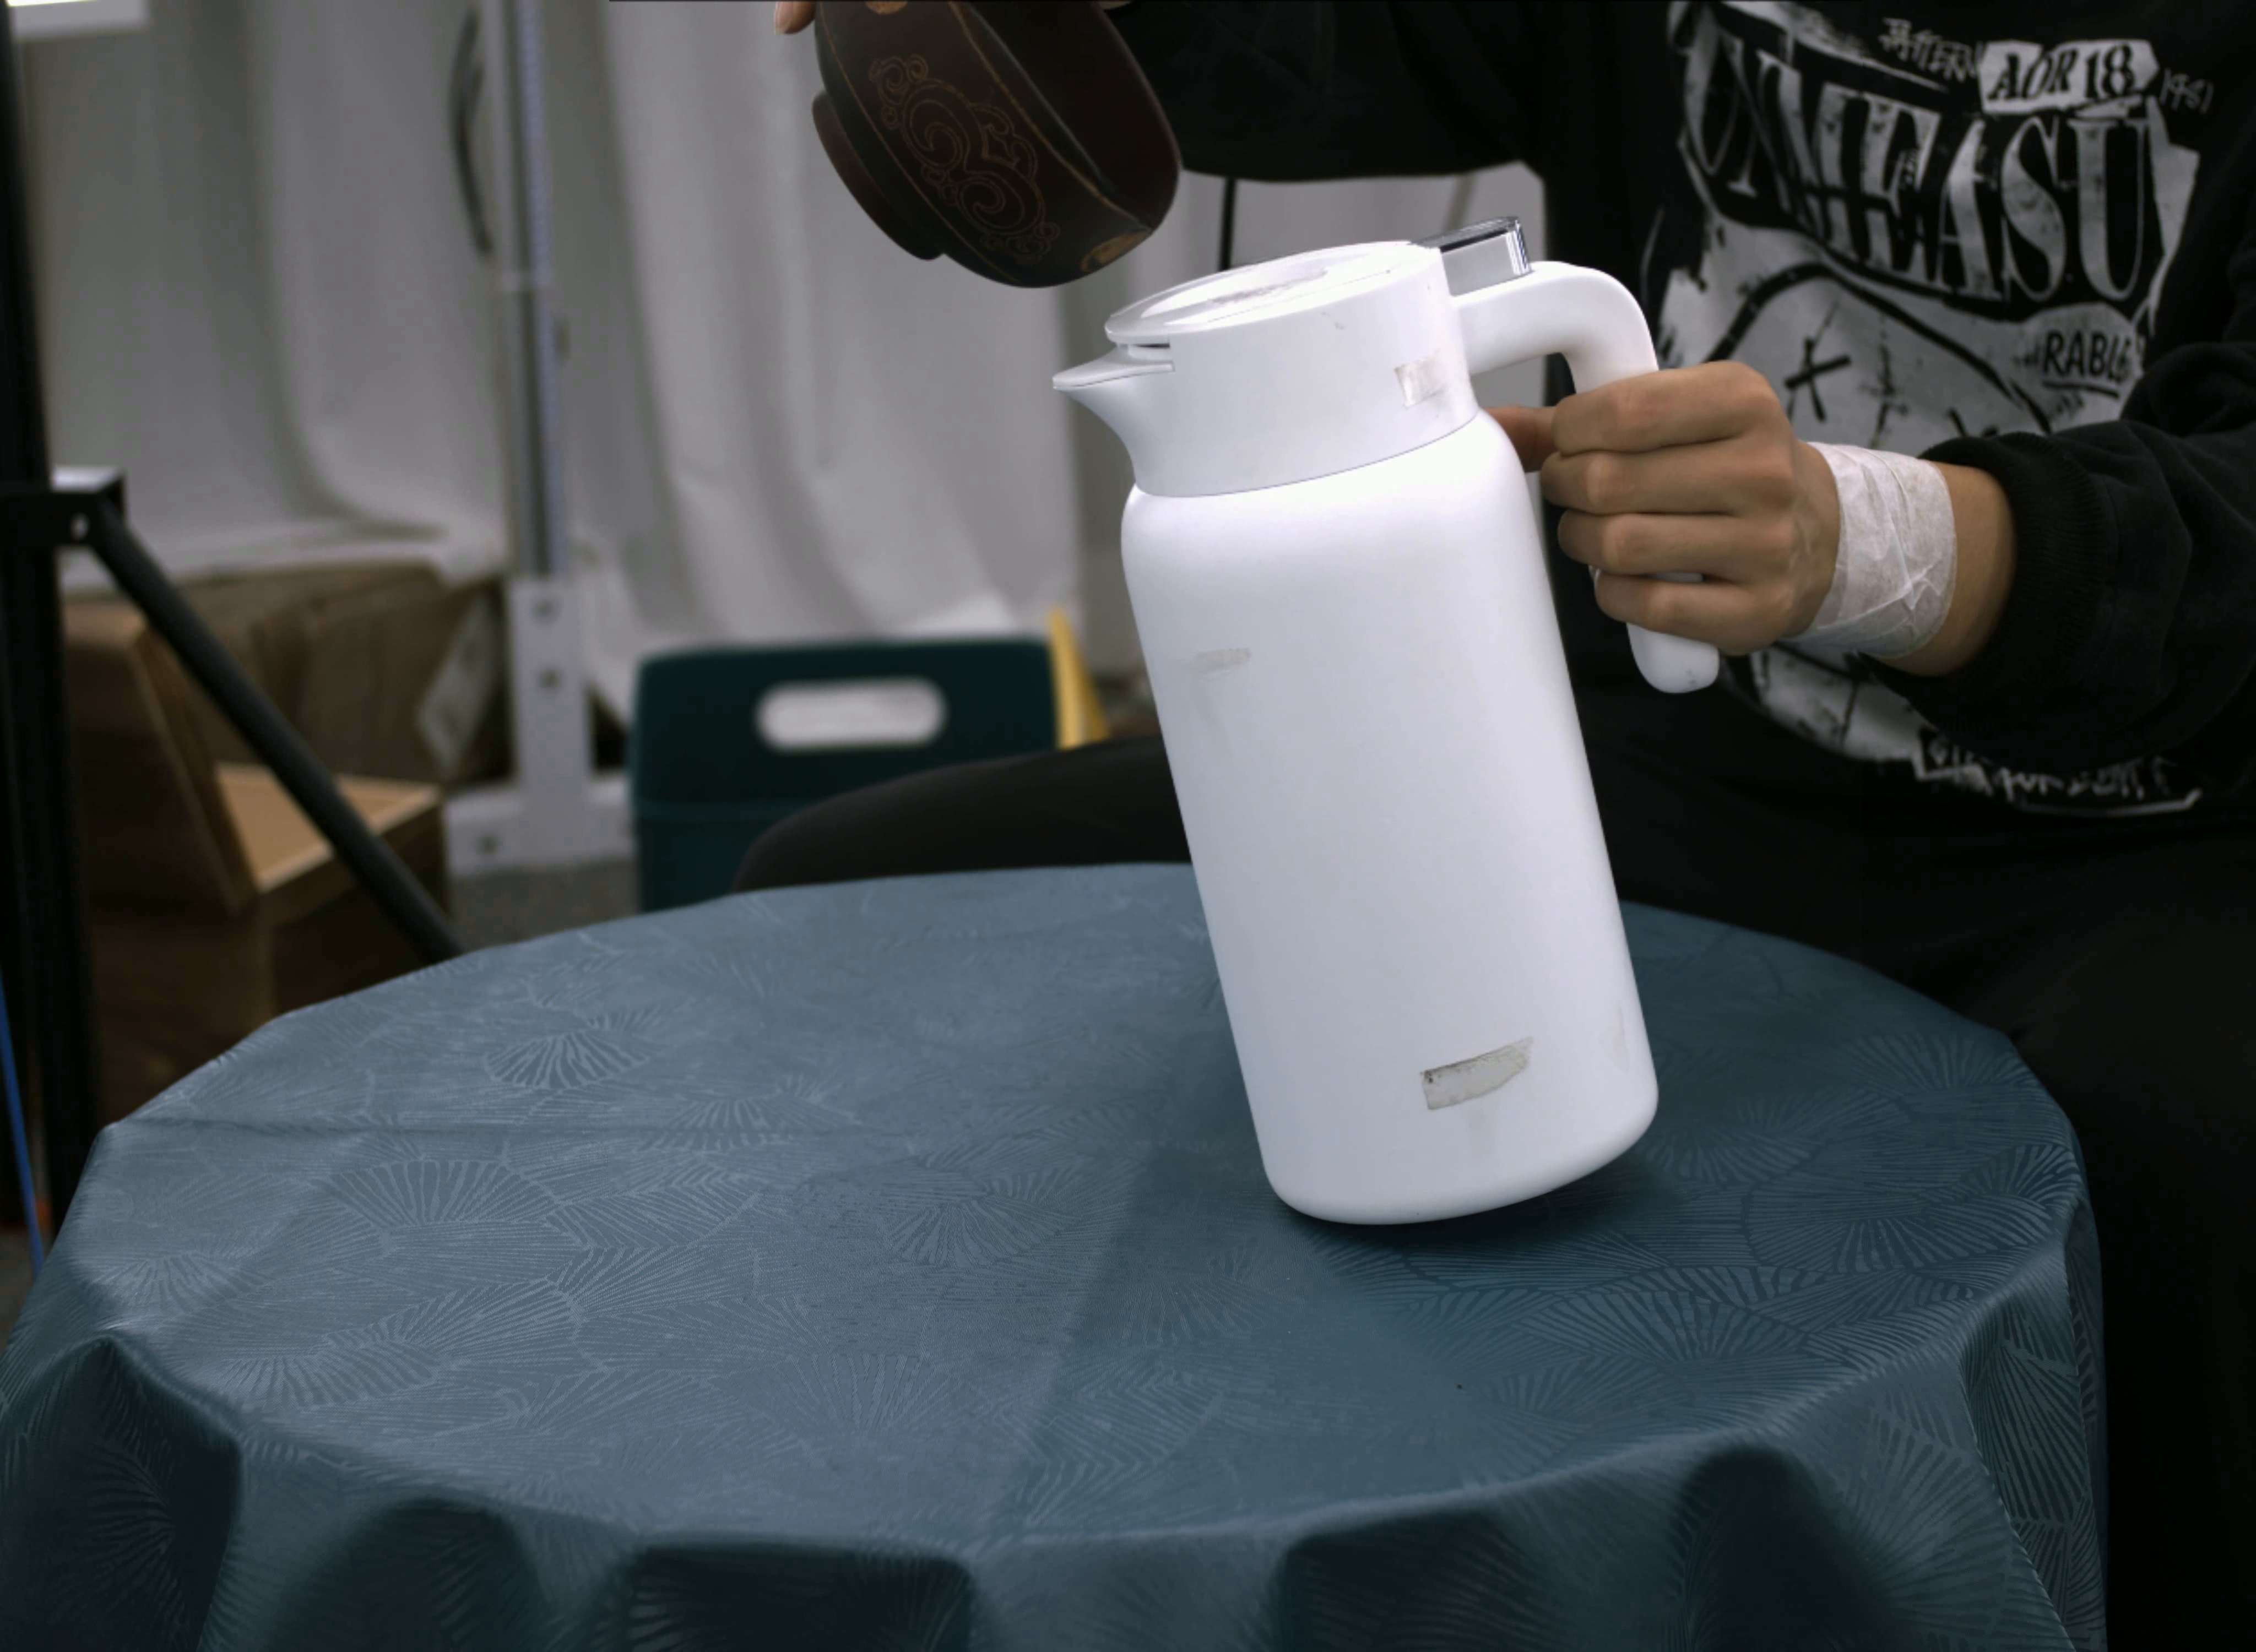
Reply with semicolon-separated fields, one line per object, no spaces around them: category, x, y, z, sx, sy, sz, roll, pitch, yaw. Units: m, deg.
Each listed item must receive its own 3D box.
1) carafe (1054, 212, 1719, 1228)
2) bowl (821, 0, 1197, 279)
carafe;0.086;-0.033;1.516;0.170;0.268;0.125;-17;11;-14
bowl;-0.042;-0.203;1.490;0.070;0.117;0.117;-34;7;18
